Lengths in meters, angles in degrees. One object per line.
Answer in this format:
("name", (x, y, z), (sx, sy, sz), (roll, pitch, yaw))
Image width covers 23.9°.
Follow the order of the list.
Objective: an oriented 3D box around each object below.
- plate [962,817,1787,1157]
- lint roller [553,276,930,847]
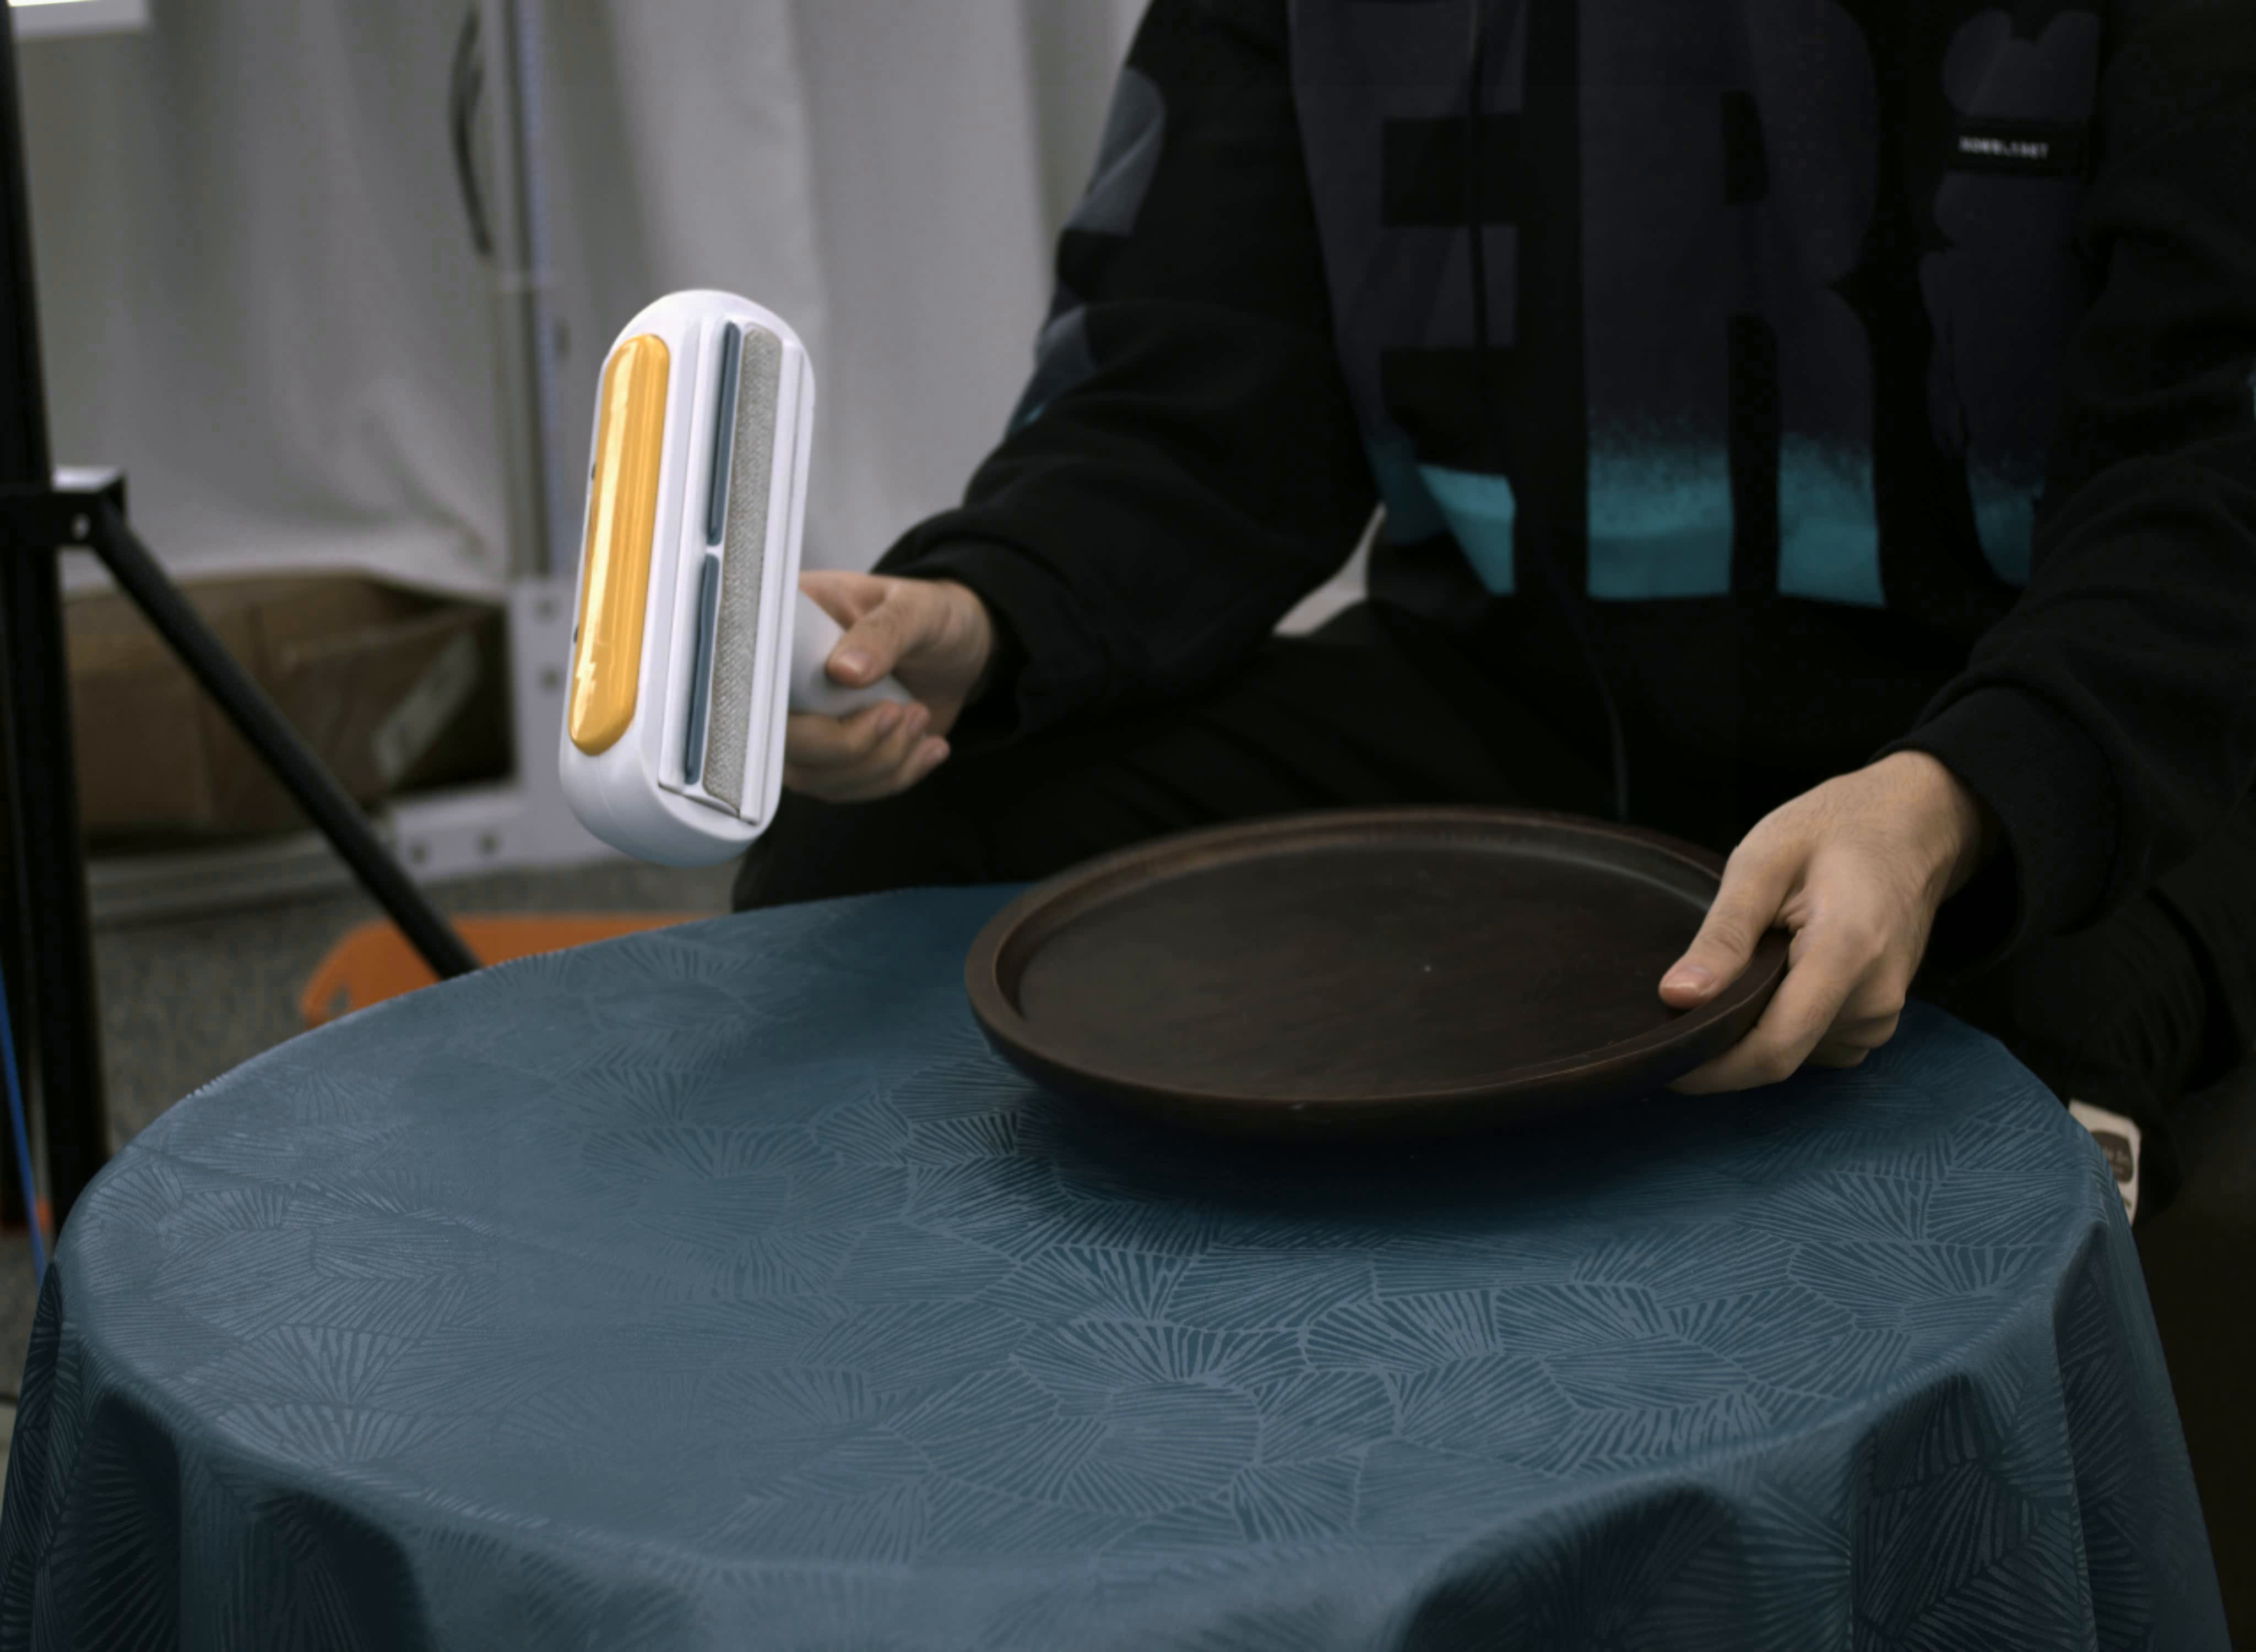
("plate", (0.075, 0.047, 1.623), (0.253, 0.029, 0.256), (-5, 18, 0))
("lint roller", (-0.113, -0.060, 1.762), (0.075, 0.195, 0.187), (-18, -35, 32))
